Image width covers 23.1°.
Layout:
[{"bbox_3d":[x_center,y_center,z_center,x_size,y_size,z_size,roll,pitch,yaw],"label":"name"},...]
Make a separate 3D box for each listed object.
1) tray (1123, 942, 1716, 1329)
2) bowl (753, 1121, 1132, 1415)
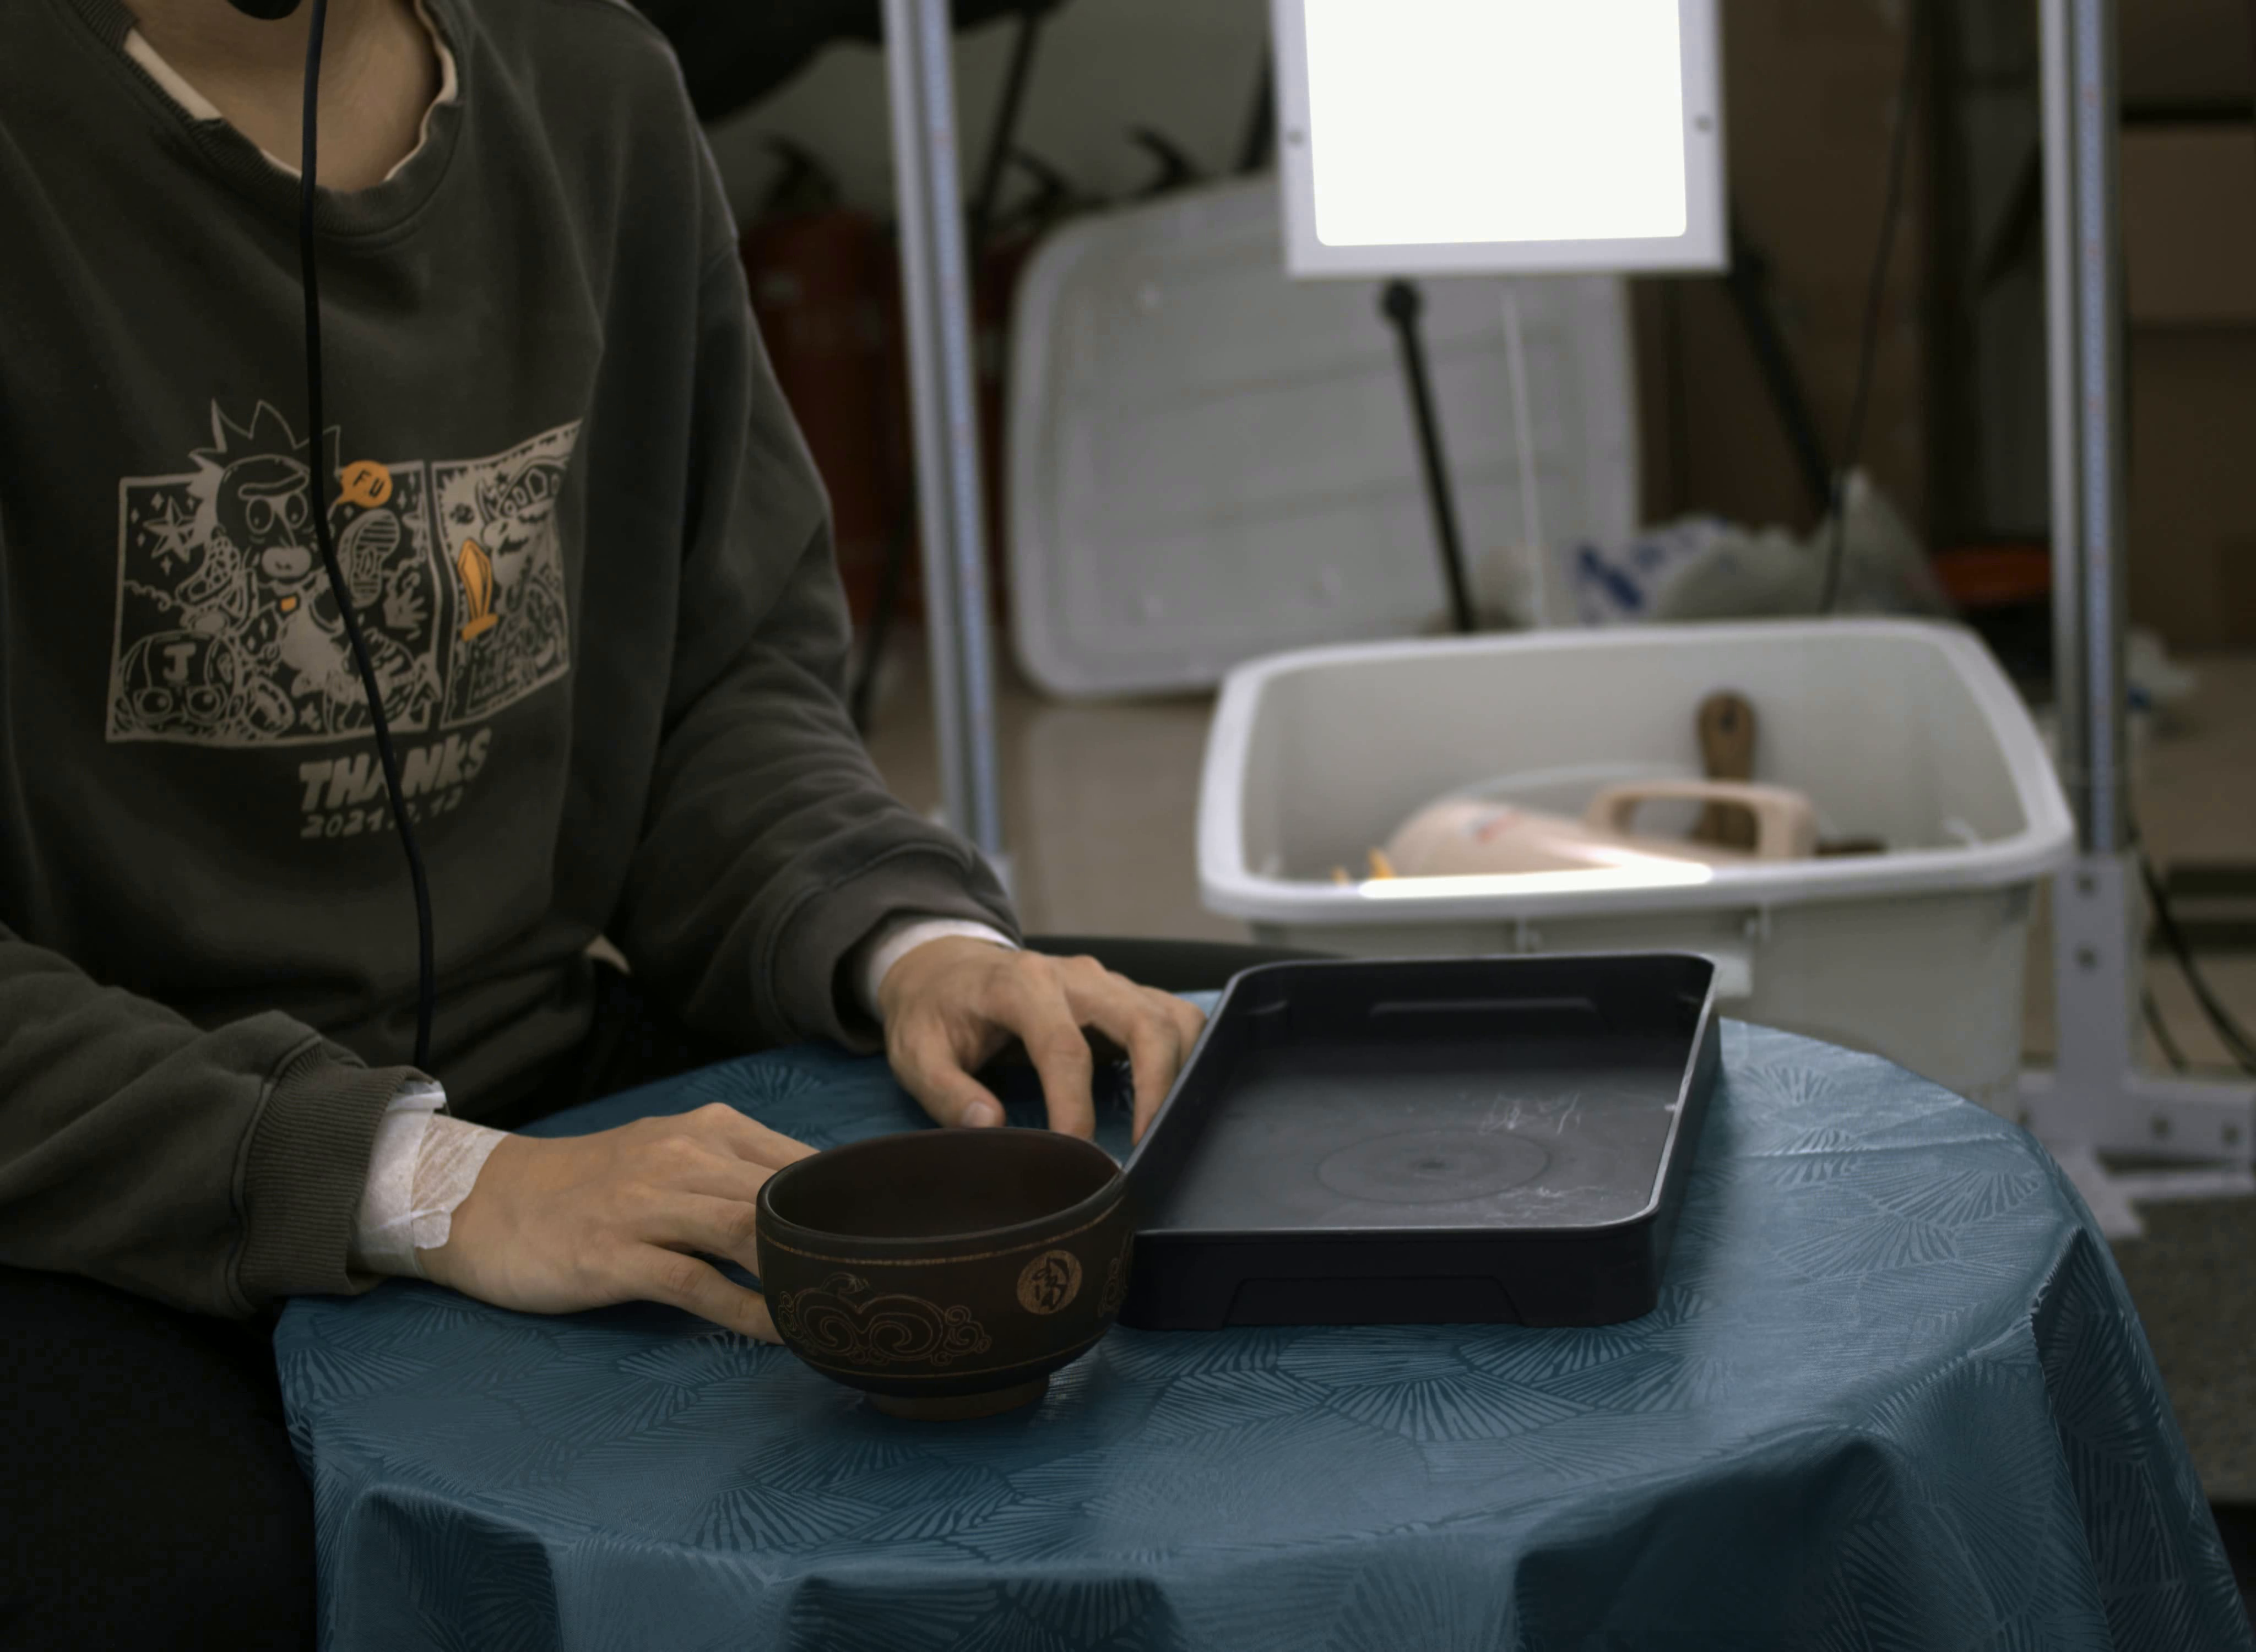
[{"bbox_3d":[0.105,0.102,1.884,0.185,0.037,0.315,-3,14,10],"label":"tray"},{"bbox_3d":[-0.056,0.141,1.708,0.118,0.070,0.118,-6,13,0],"label":"bowl"}]
